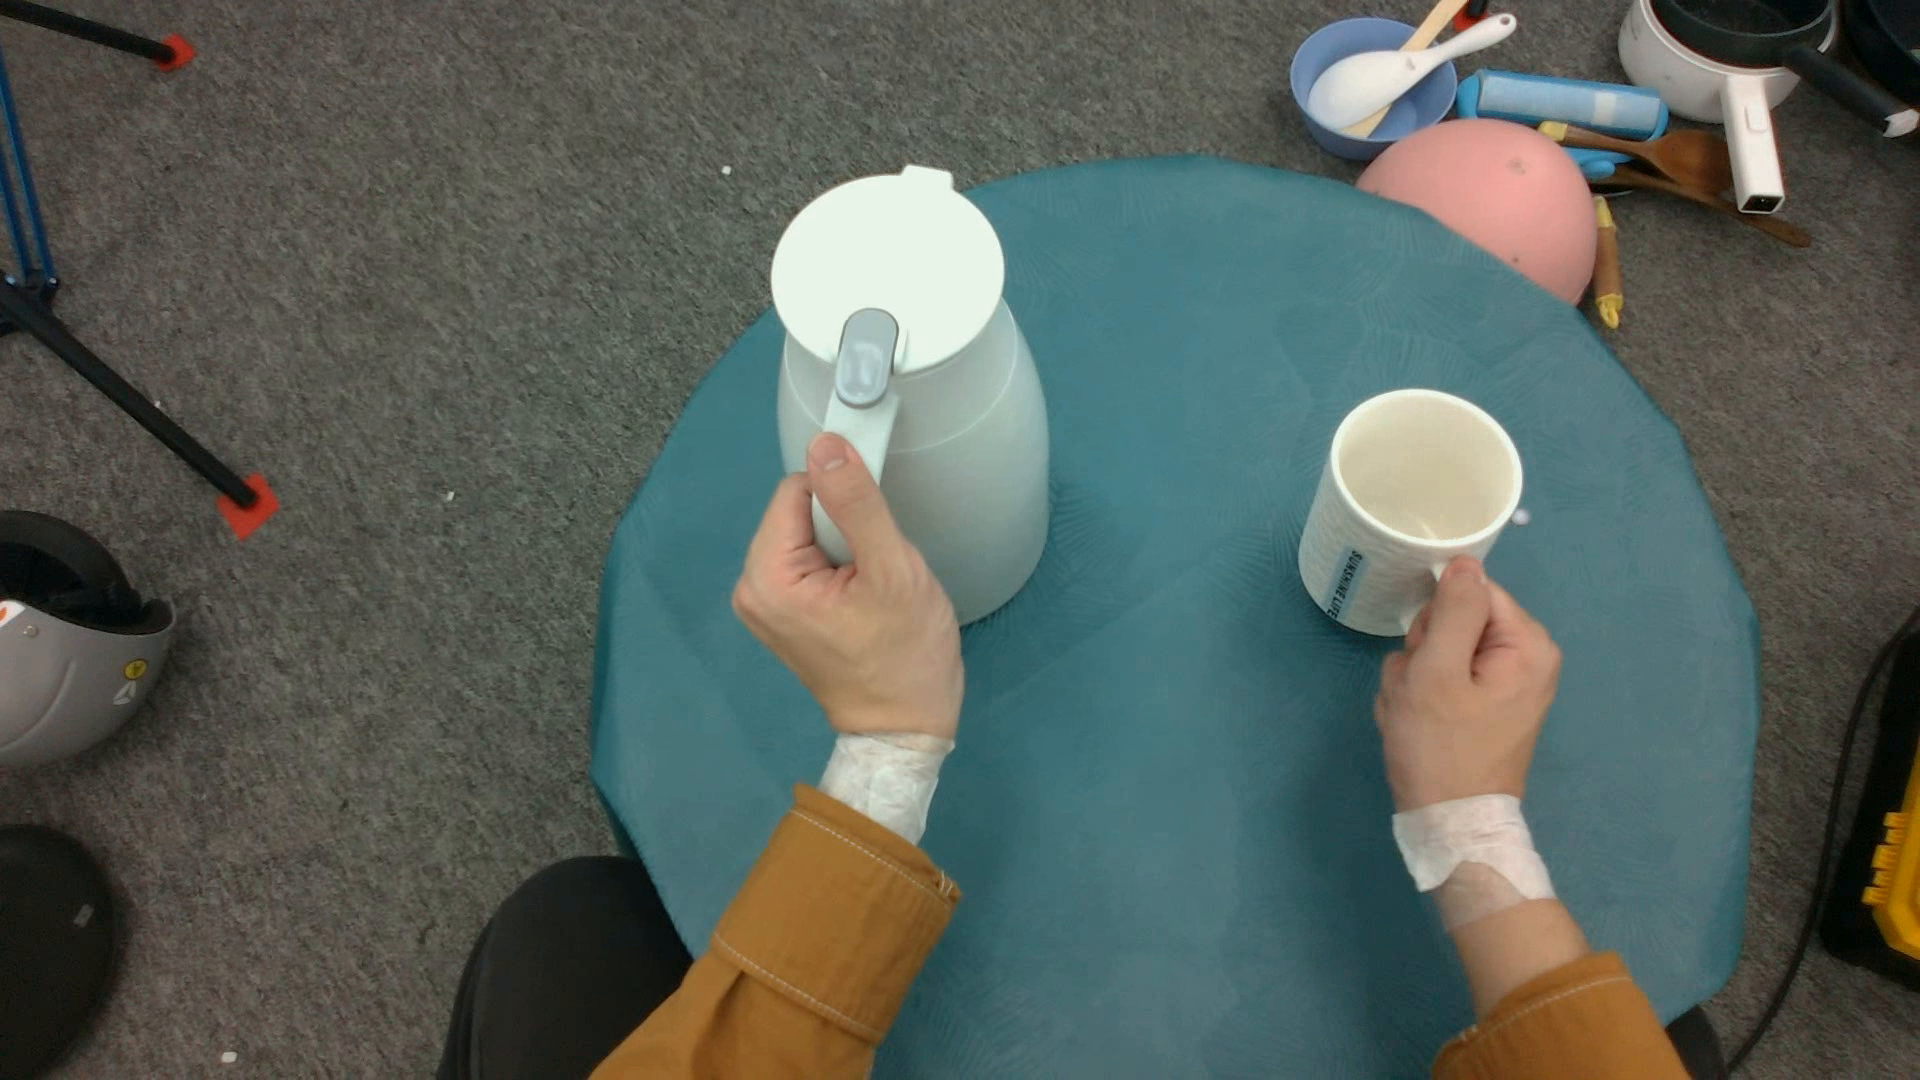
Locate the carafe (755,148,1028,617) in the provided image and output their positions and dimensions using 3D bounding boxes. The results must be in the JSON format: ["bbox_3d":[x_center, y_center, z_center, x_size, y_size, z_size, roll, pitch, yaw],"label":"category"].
[{"bbox_3d":[-0.035,-0.049,0.635,0.132,0.248,0.168,11,68,5],"label":"carafe"}]

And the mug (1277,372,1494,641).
[{"bbox_3d":[0.210,-0.006,0.676,0.085,0.101,0.118,-11,61,-4],"label":"mug"}]
